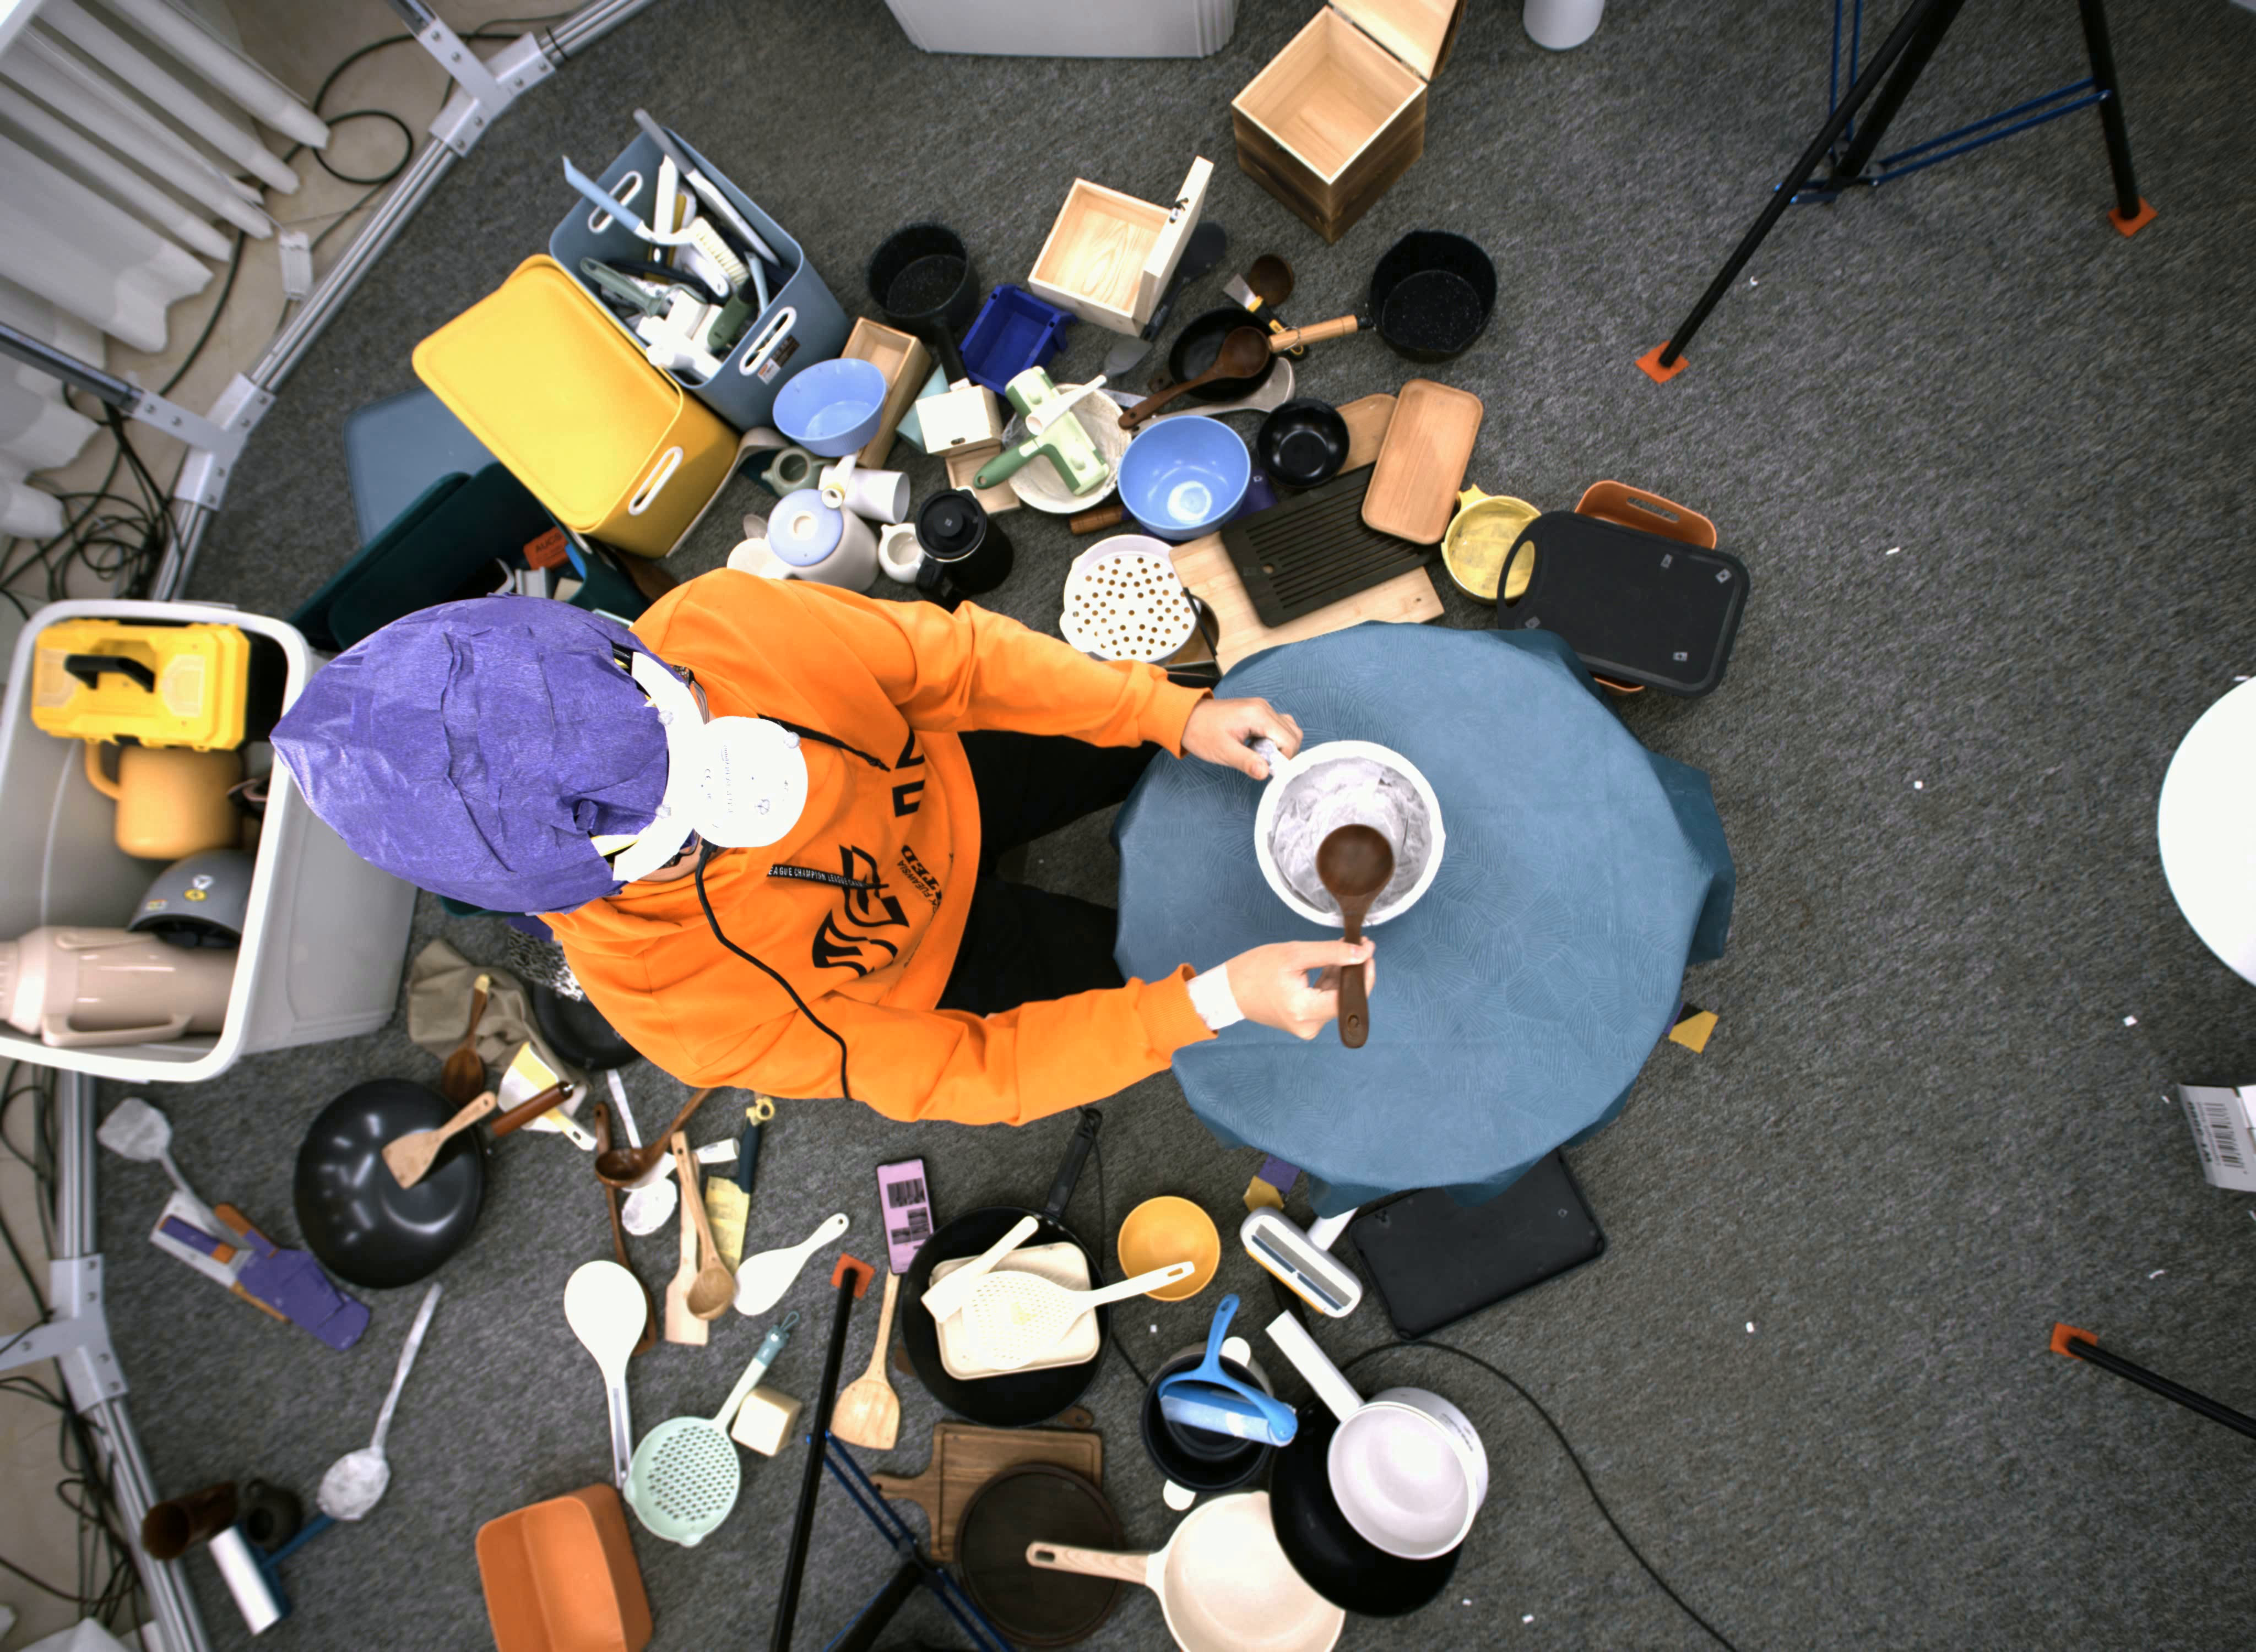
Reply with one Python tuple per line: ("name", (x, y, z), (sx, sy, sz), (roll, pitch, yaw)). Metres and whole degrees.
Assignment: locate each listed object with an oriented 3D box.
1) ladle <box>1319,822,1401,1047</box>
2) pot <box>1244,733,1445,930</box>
("ladle", (0.205, 0.088, 1.236), (0.077, 0.253, 0.066), (-8, 123, 17))
("pot", (0.201, -0.007, 1.363), (0.232, 0.136, 0.180), (44, 97, 10))
